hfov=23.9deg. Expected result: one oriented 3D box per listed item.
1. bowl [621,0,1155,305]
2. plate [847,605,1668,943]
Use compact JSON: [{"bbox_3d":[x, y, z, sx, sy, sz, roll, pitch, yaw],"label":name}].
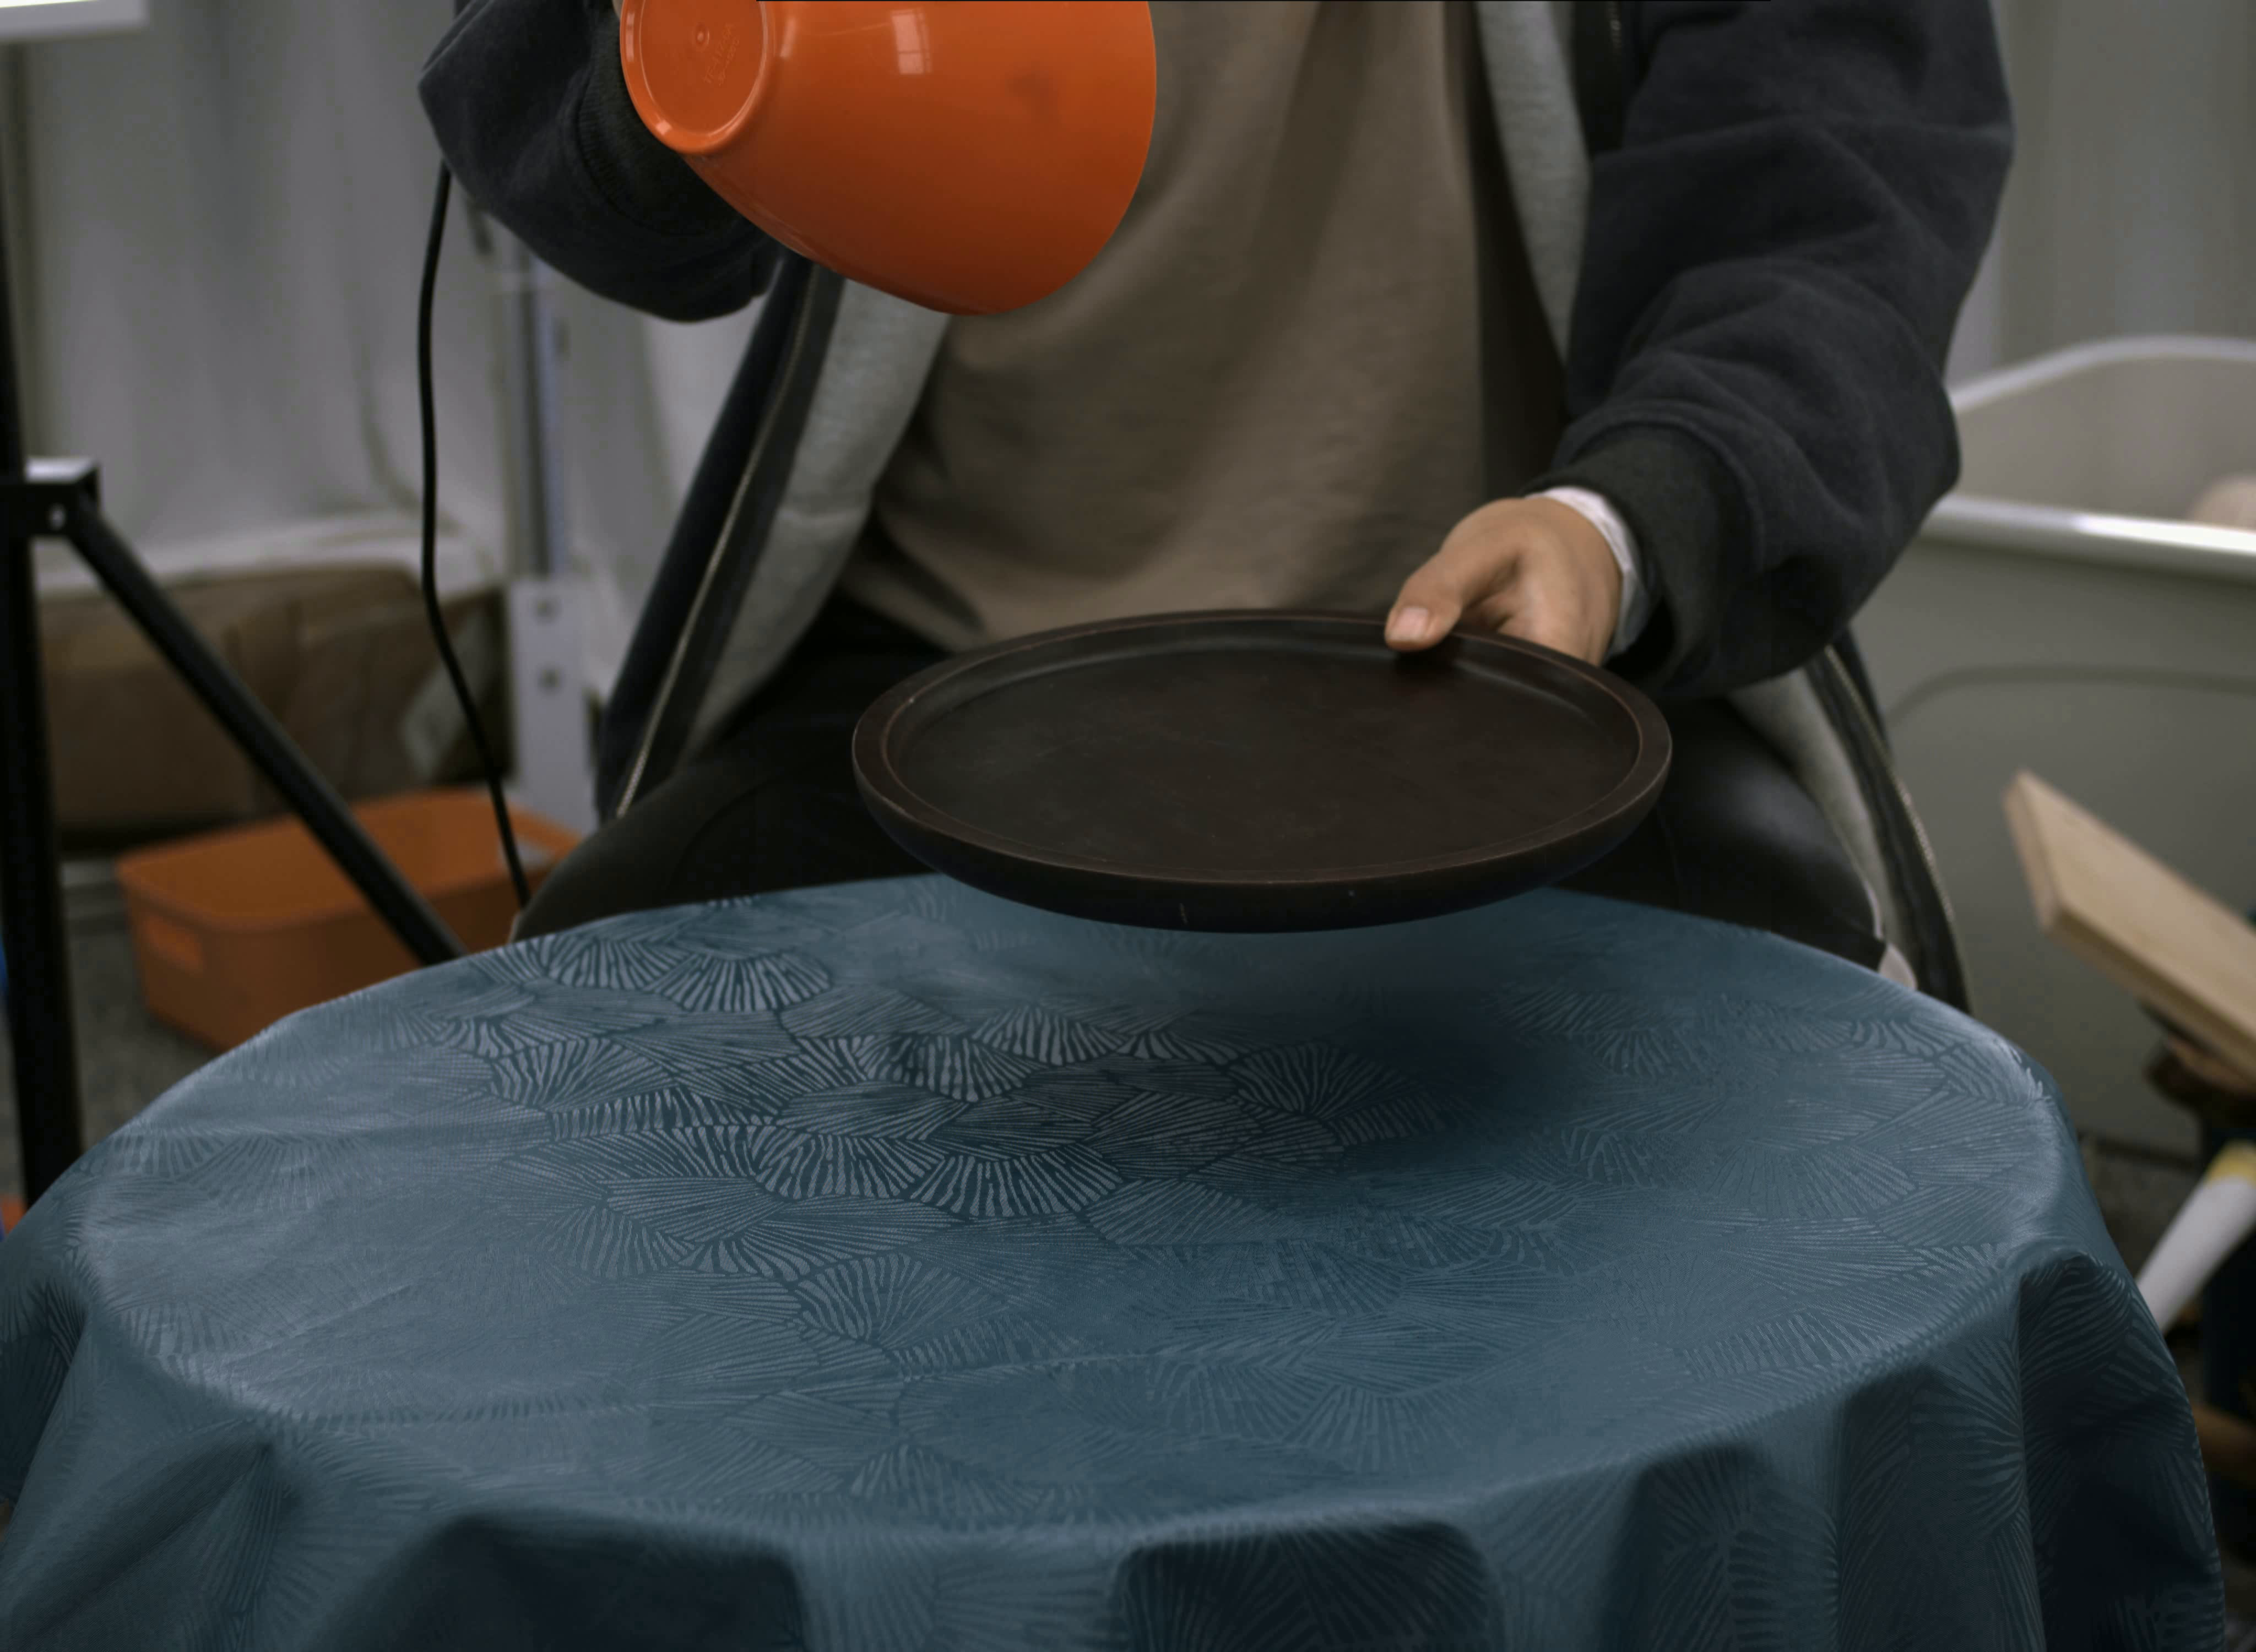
[{"bbox_3d":[-0.079,-0.223,1.536,0.102,0.148,0.151,-6,14,-42],"label":"bowl"},{"bbox_3d":[0.040,-0.018,1.640,0.253,0.029,0.256,-3,20,0],"label":"plate"}]
